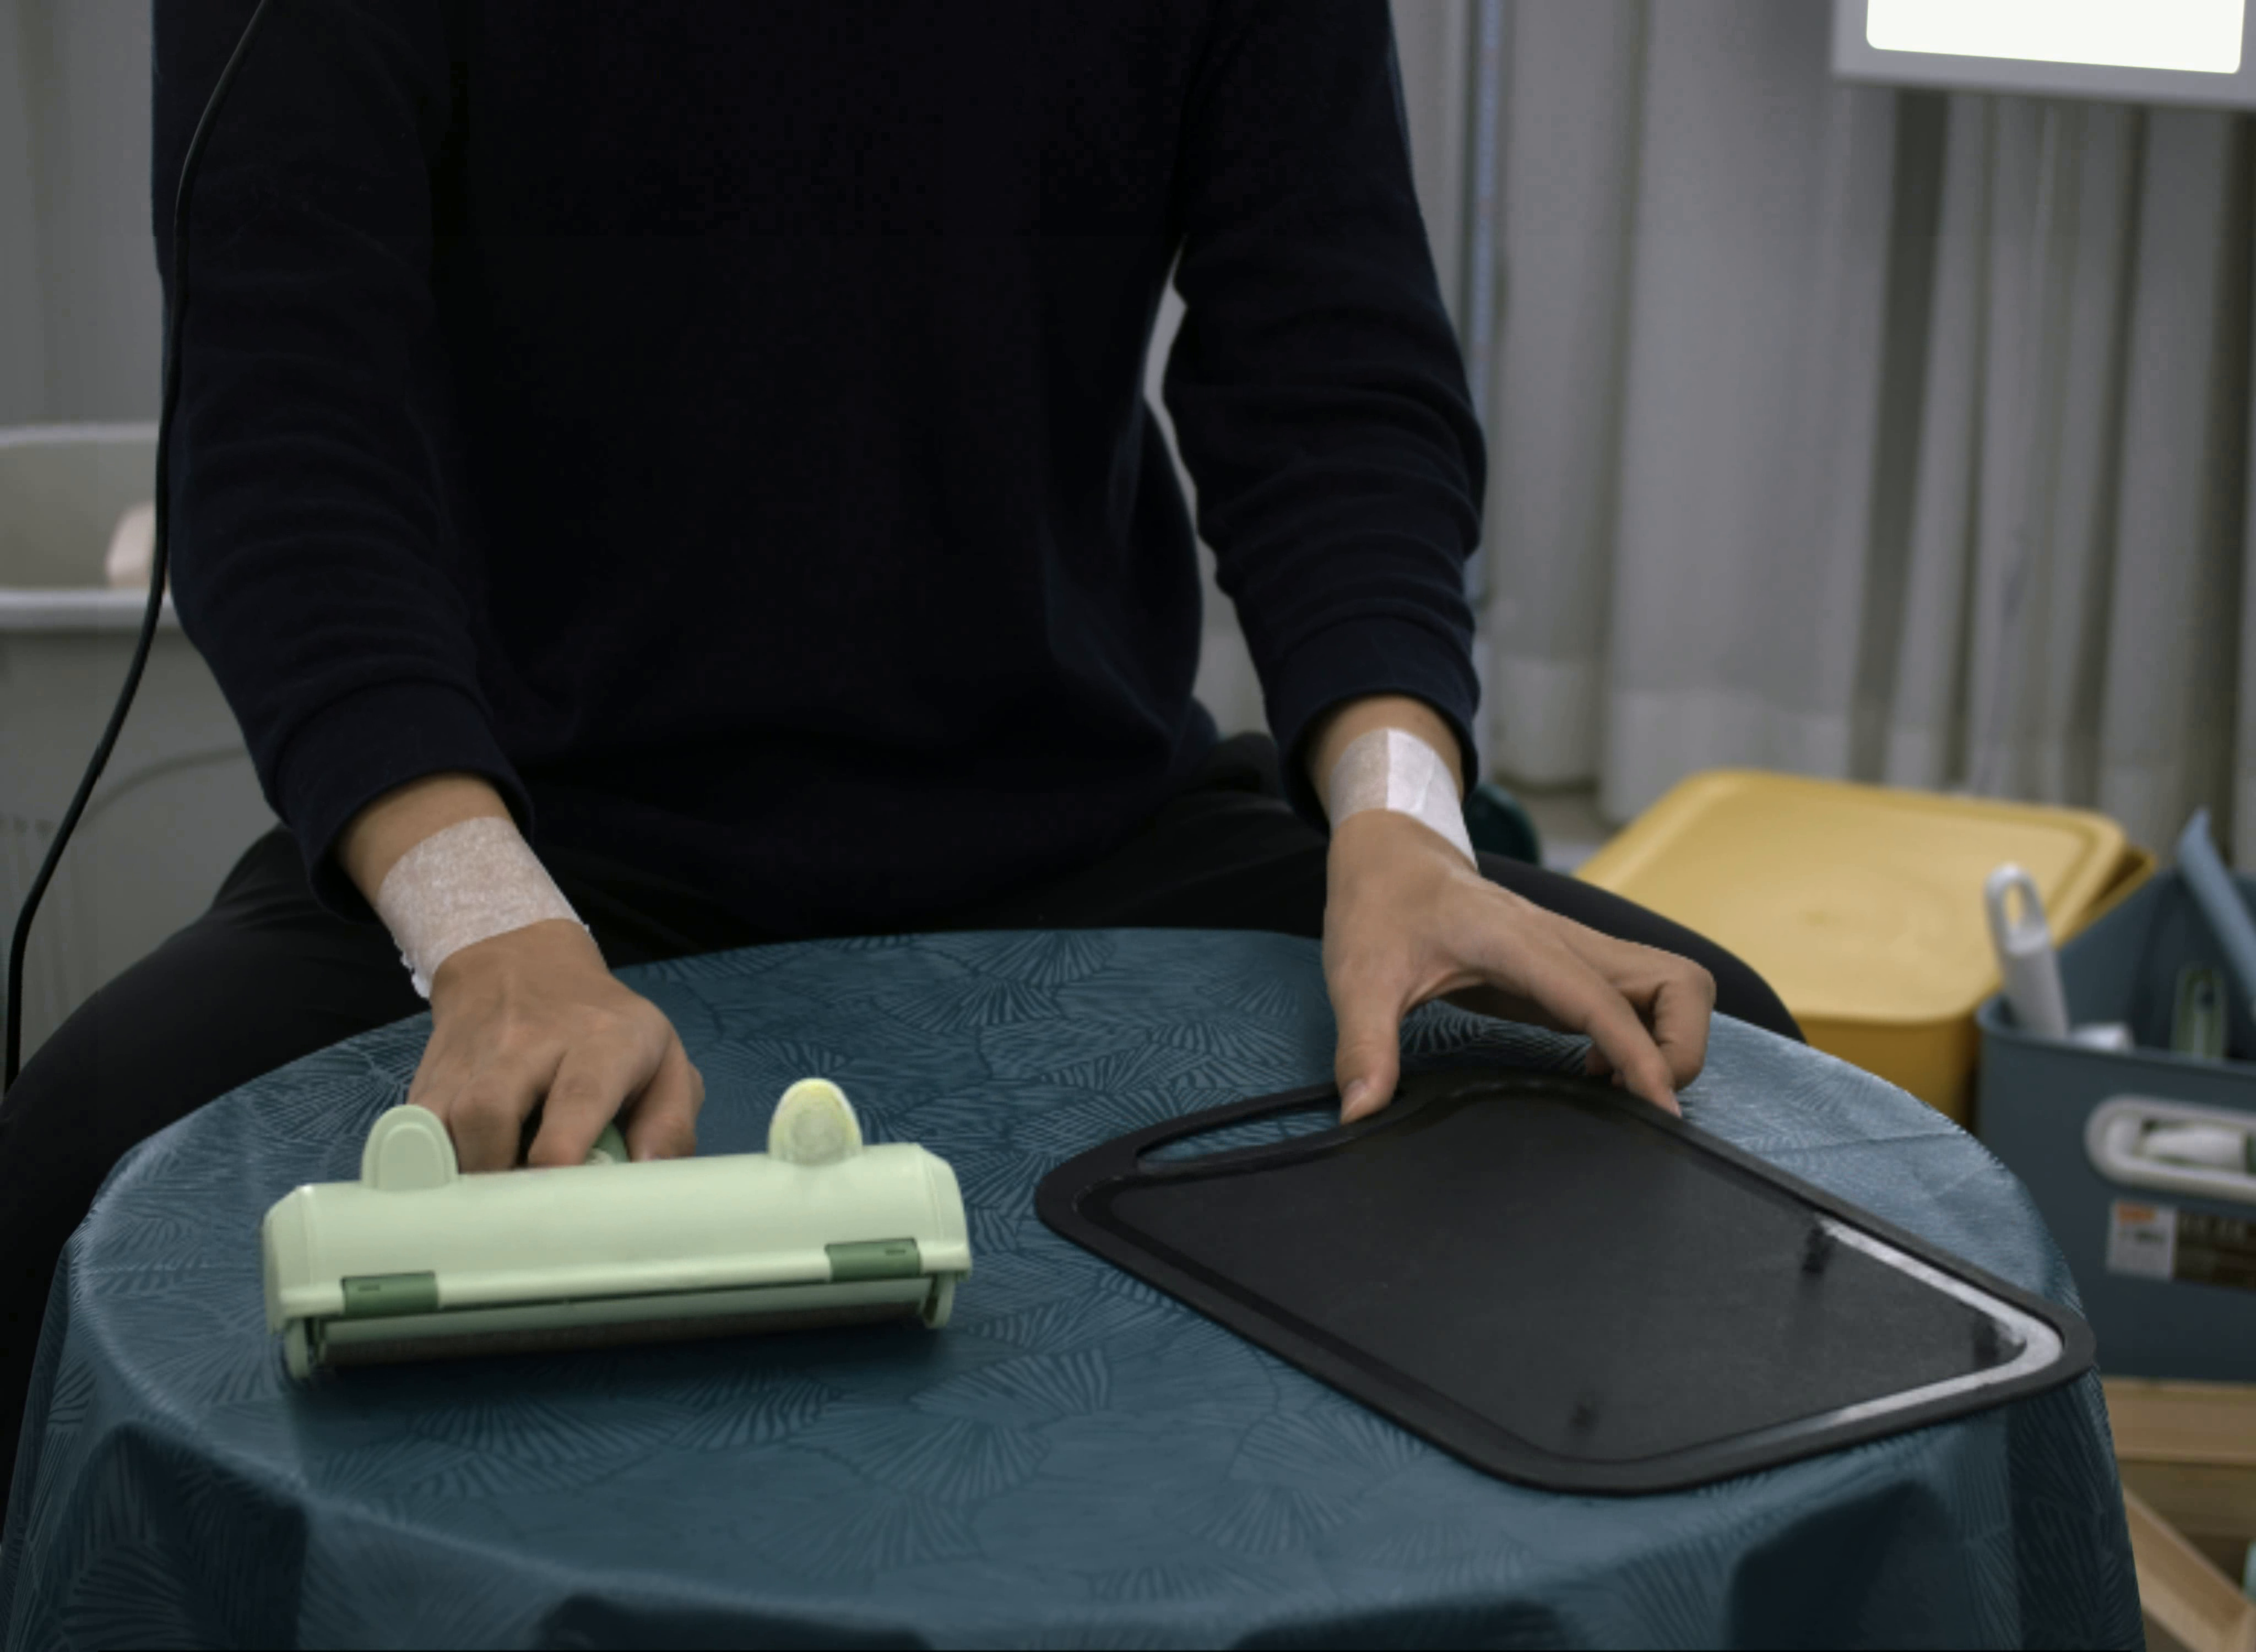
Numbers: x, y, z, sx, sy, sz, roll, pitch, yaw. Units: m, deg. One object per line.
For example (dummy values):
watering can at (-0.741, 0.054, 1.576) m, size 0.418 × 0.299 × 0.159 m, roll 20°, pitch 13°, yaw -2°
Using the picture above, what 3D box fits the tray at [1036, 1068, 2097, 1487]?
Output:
tray at (0.118, 0.125, 1.560) m, size 0.212 × 0.010 × 0.321 m, roll -11°, pitch 19°, yaw -30°

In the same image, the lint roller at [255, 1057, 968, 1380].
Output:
lint roller at (-0.158, 0.090, 1.526) m, size 0.199 × 0.083 × 0.181 m, roll -3°, pitch 27°, yaw -15°
